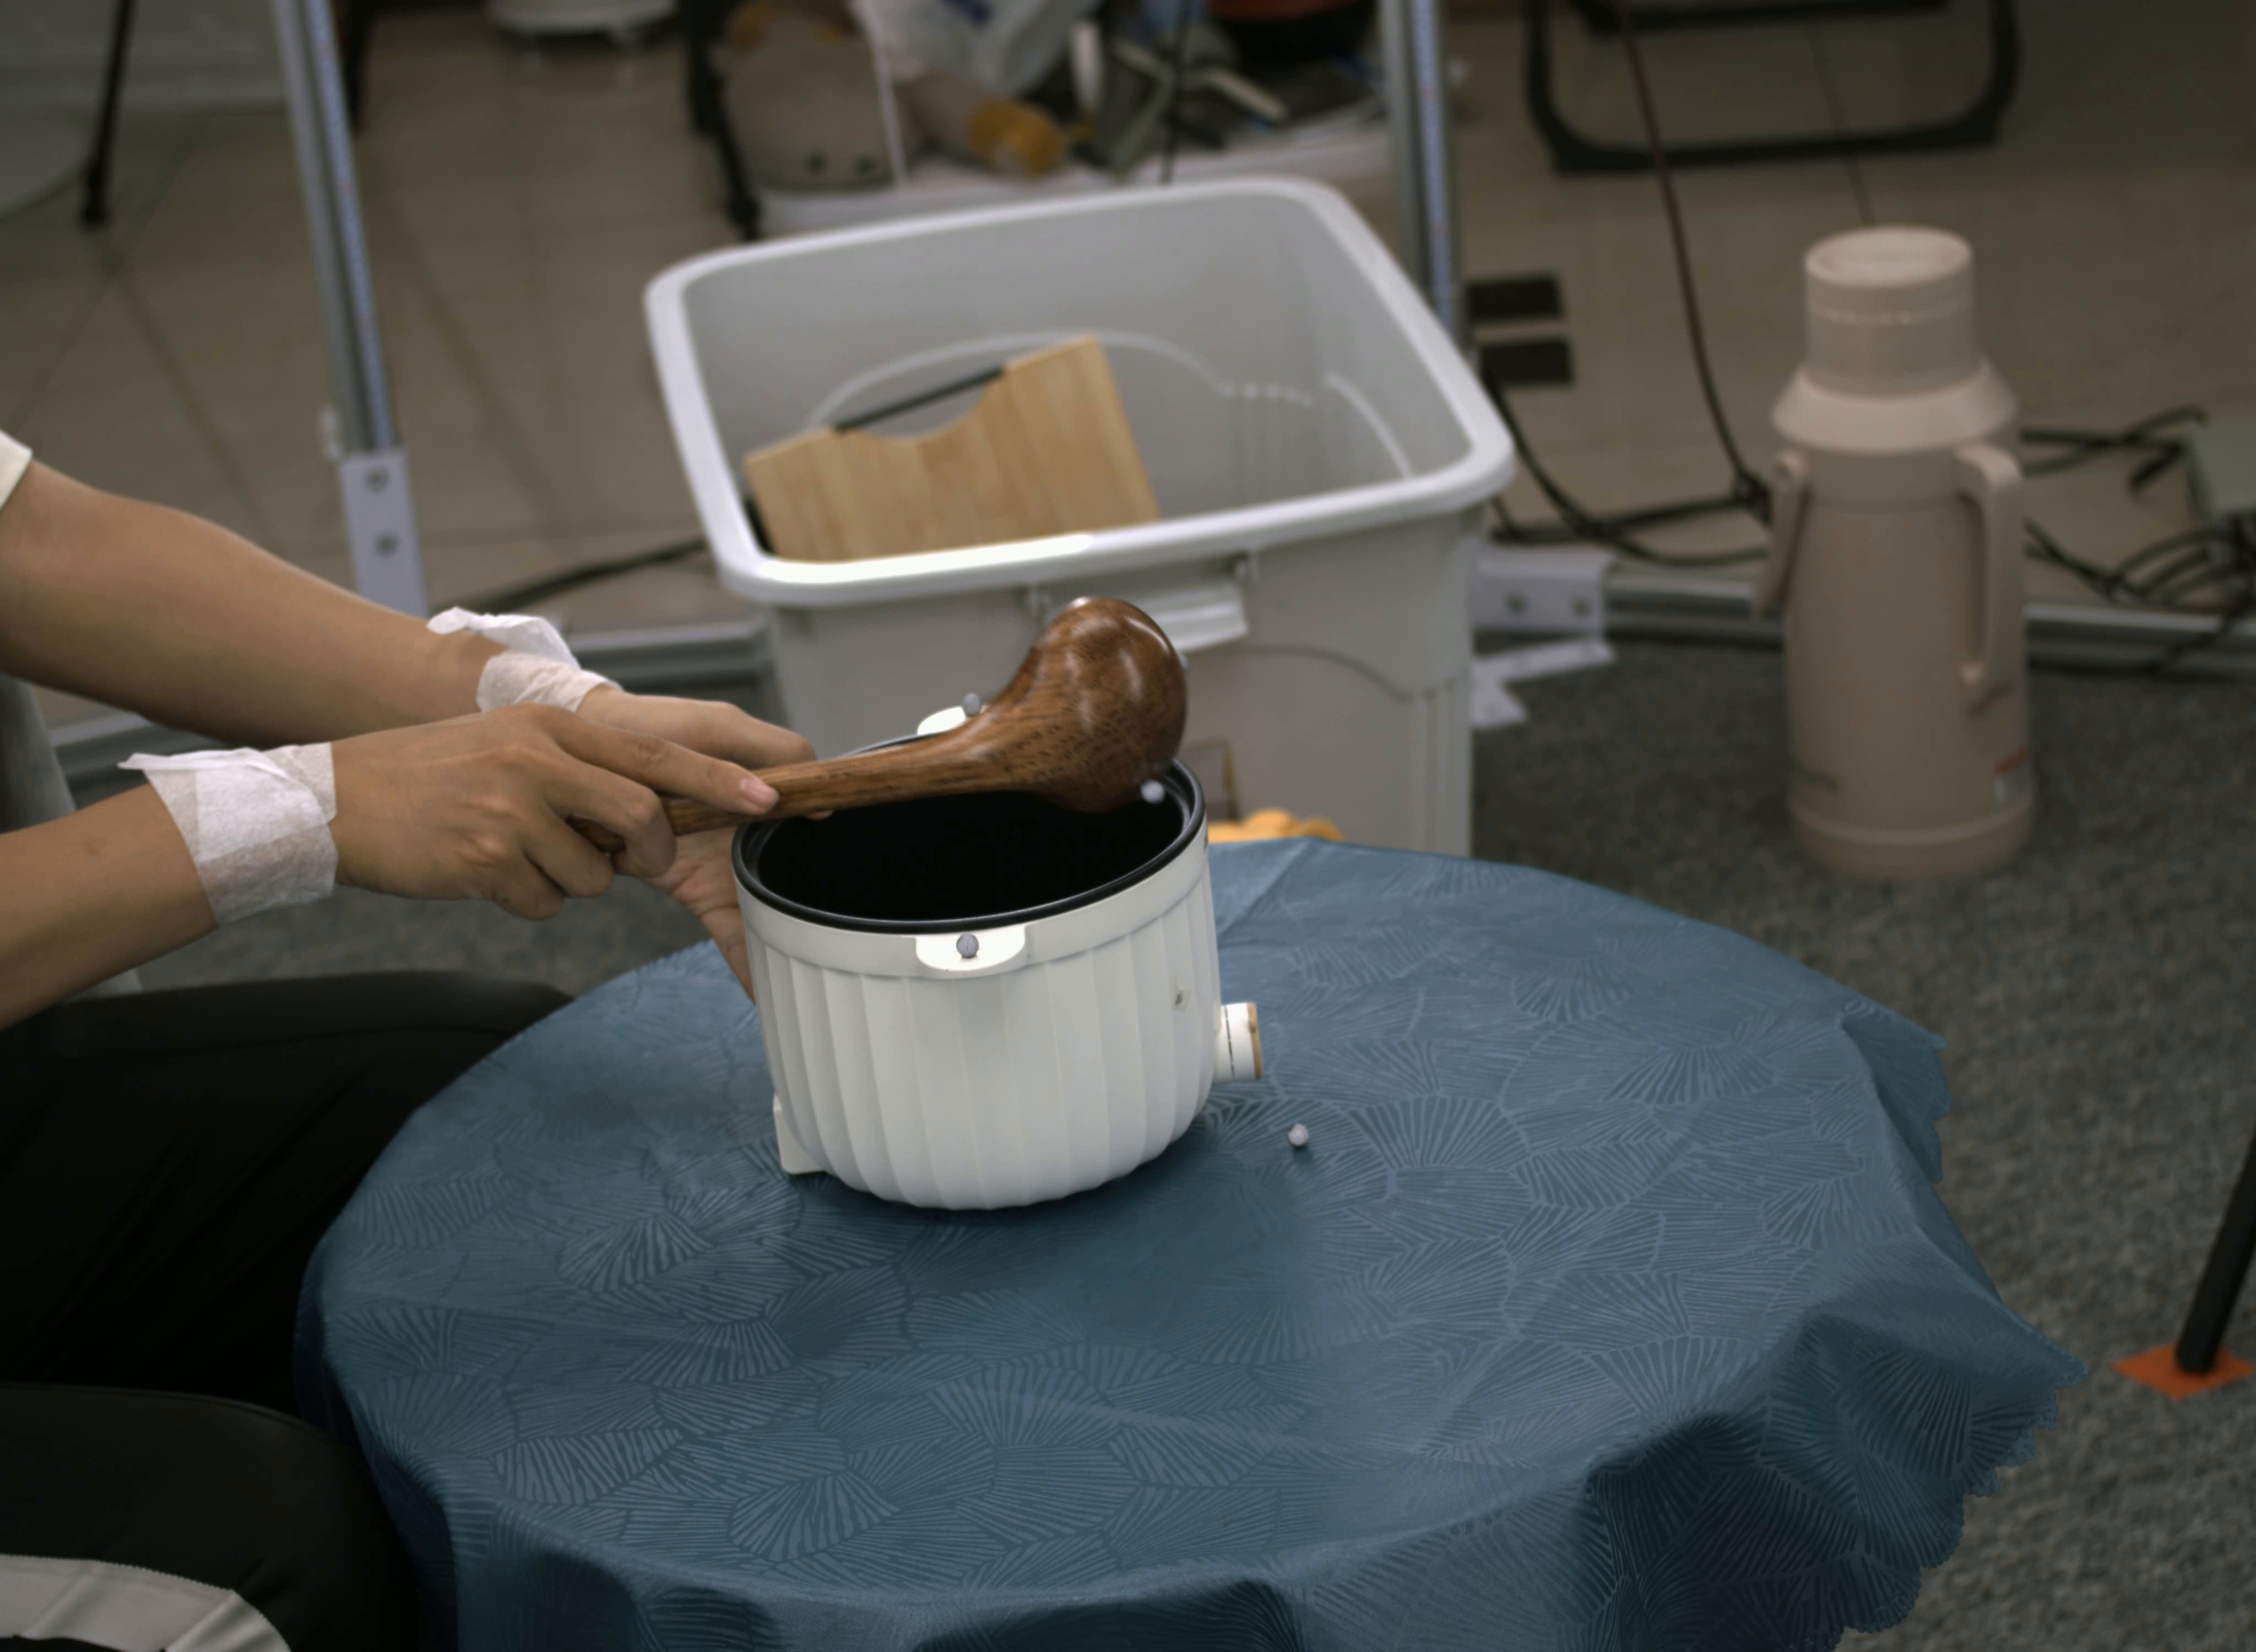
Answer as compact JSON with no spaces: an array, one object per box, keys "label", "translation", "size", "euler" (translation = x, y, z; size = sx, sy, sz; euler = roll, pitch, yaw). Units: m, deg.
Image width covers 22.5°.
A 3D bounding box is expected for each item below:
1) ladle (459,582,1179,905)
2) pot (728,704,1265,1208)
[{"label":"ladle","translation":[-0.115,-0.026,2.115],"size":[0.274,0.083,0.076],"euler":[-13,17,4]},{"label":"pot","translation":[-0.049,0.056,2.174],"size":[0.190,0.145,0.237],"euler":[-9,26,2]}]
